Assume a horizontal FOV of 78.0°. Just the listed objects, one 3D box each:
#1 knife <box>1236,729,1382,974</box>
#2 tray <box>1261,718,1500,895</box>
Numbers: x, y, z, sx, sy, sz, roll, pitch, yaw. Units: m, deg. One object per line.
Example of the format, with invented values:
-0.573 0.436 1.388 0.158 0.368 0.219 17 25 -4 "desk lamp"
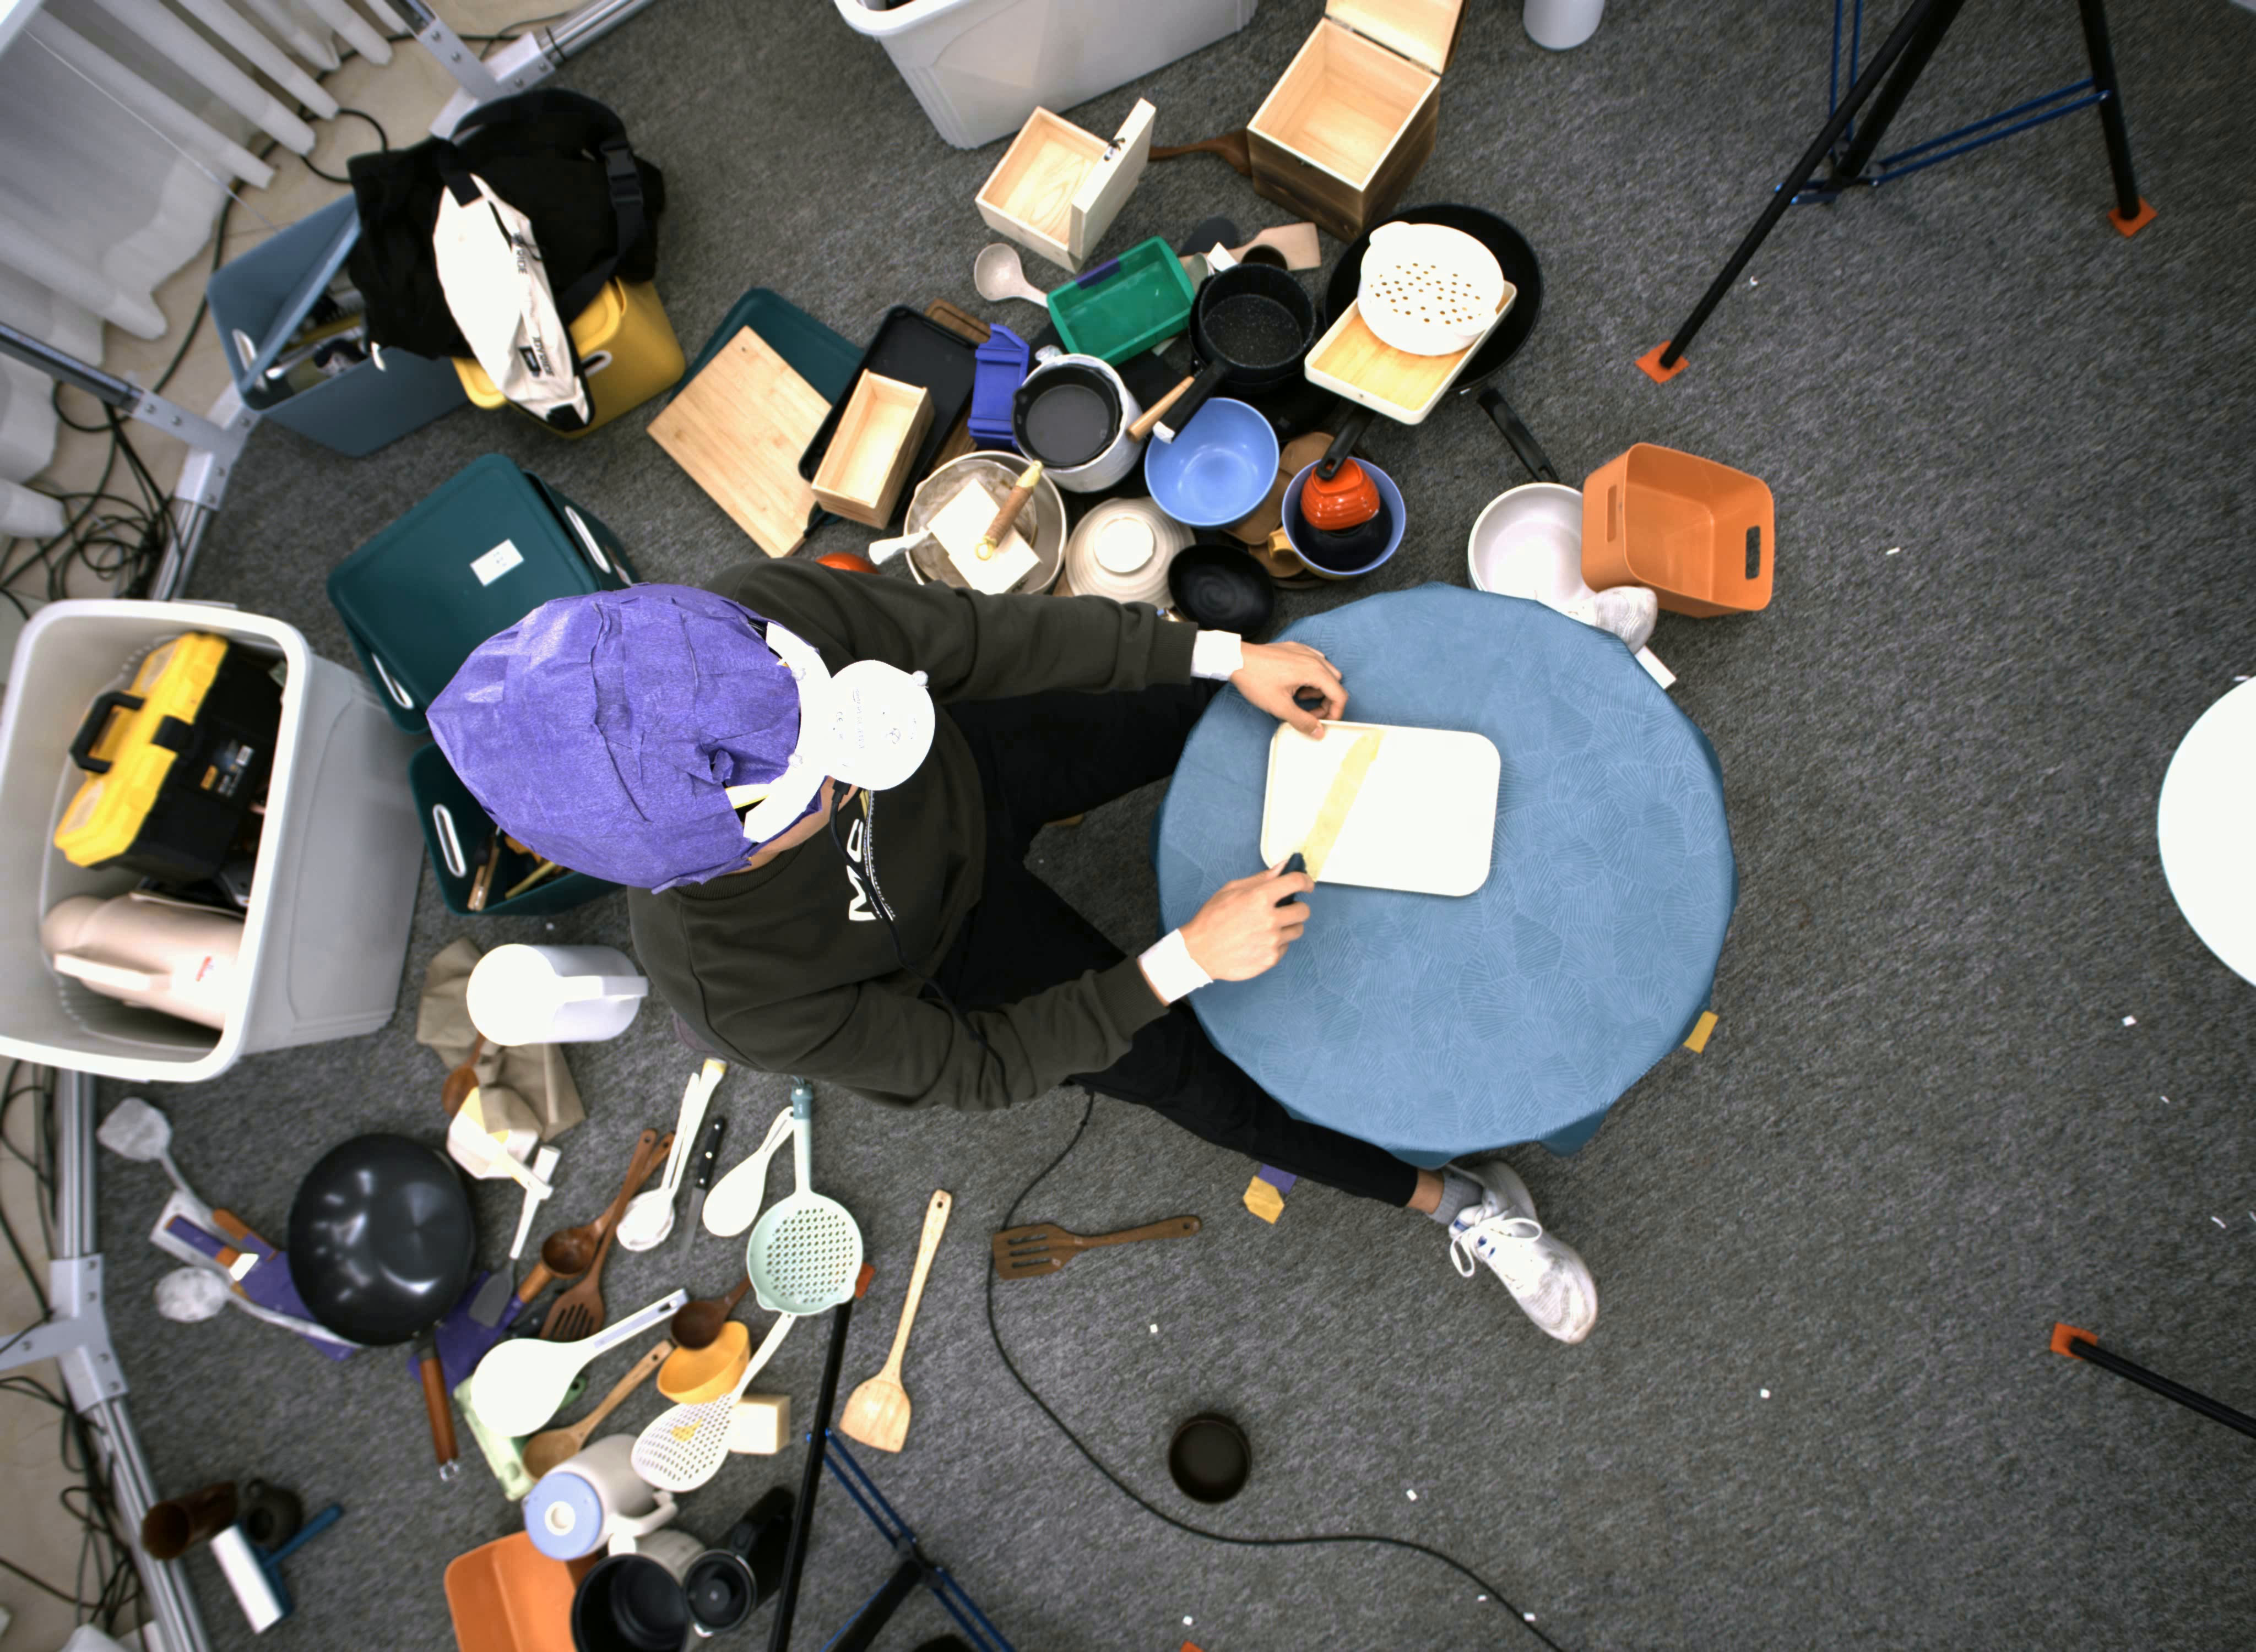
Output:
0.189 0.024 1.405 0.027 0.081 0.288 28 86 34 "knife"
0.264 -0.023 1.448 0.240 0.017 0.172 6 96 11 "tray"
